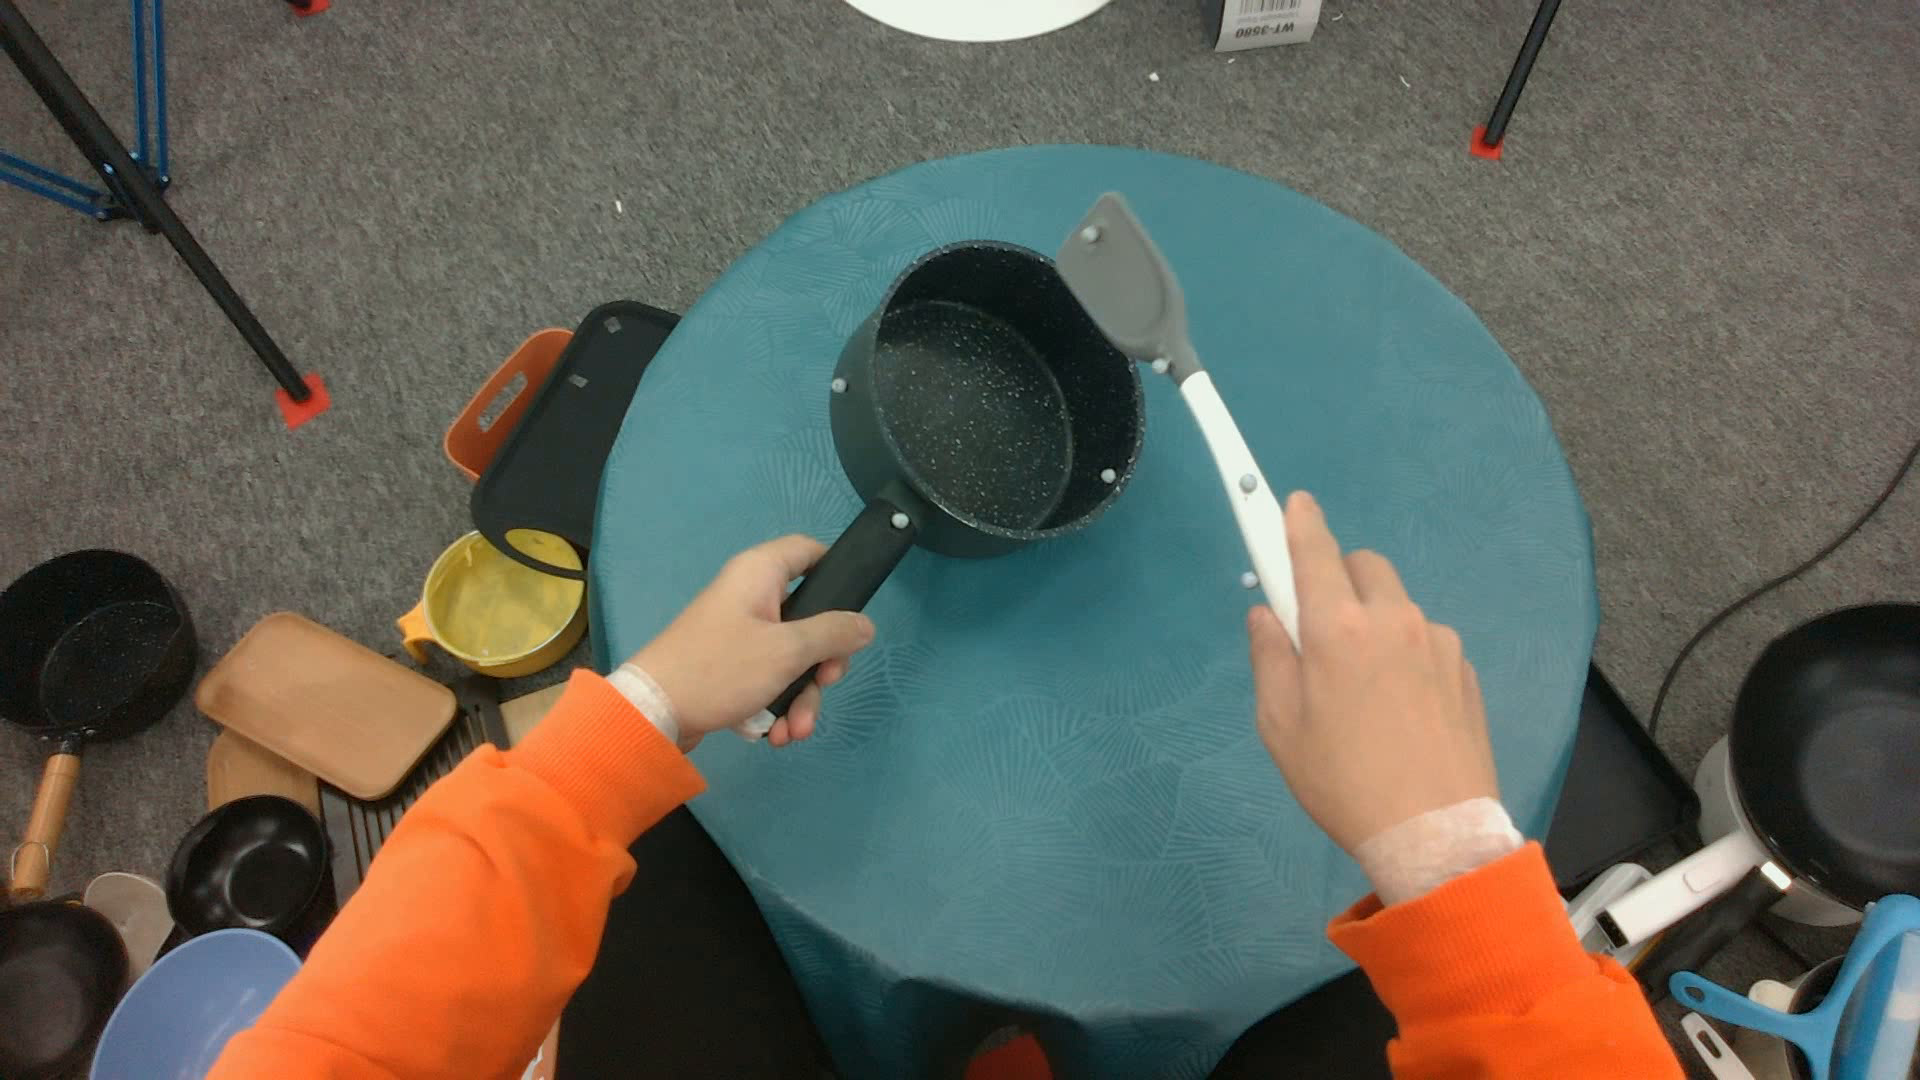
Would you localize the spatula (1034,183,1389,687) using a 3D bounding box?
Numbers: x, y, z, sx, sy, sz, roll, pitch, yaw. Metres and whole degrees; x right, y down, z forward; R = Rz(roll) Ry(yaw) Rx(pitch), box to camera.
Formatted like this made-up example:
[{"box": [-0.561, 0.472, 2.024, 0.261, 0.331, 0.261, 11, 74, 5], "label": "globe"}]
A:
[{"box": [0.112, -0.057, 0.653, 0.032, 0.058, 0.288, -2, 52, -35], "label": "spatula"}]

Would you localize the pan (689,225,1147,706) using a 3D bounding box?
[{"box": [-0.031, -0.031, 0.737, 0.172, 0.086, 0.330, 45, 60, -7], "label": "pan"}]
